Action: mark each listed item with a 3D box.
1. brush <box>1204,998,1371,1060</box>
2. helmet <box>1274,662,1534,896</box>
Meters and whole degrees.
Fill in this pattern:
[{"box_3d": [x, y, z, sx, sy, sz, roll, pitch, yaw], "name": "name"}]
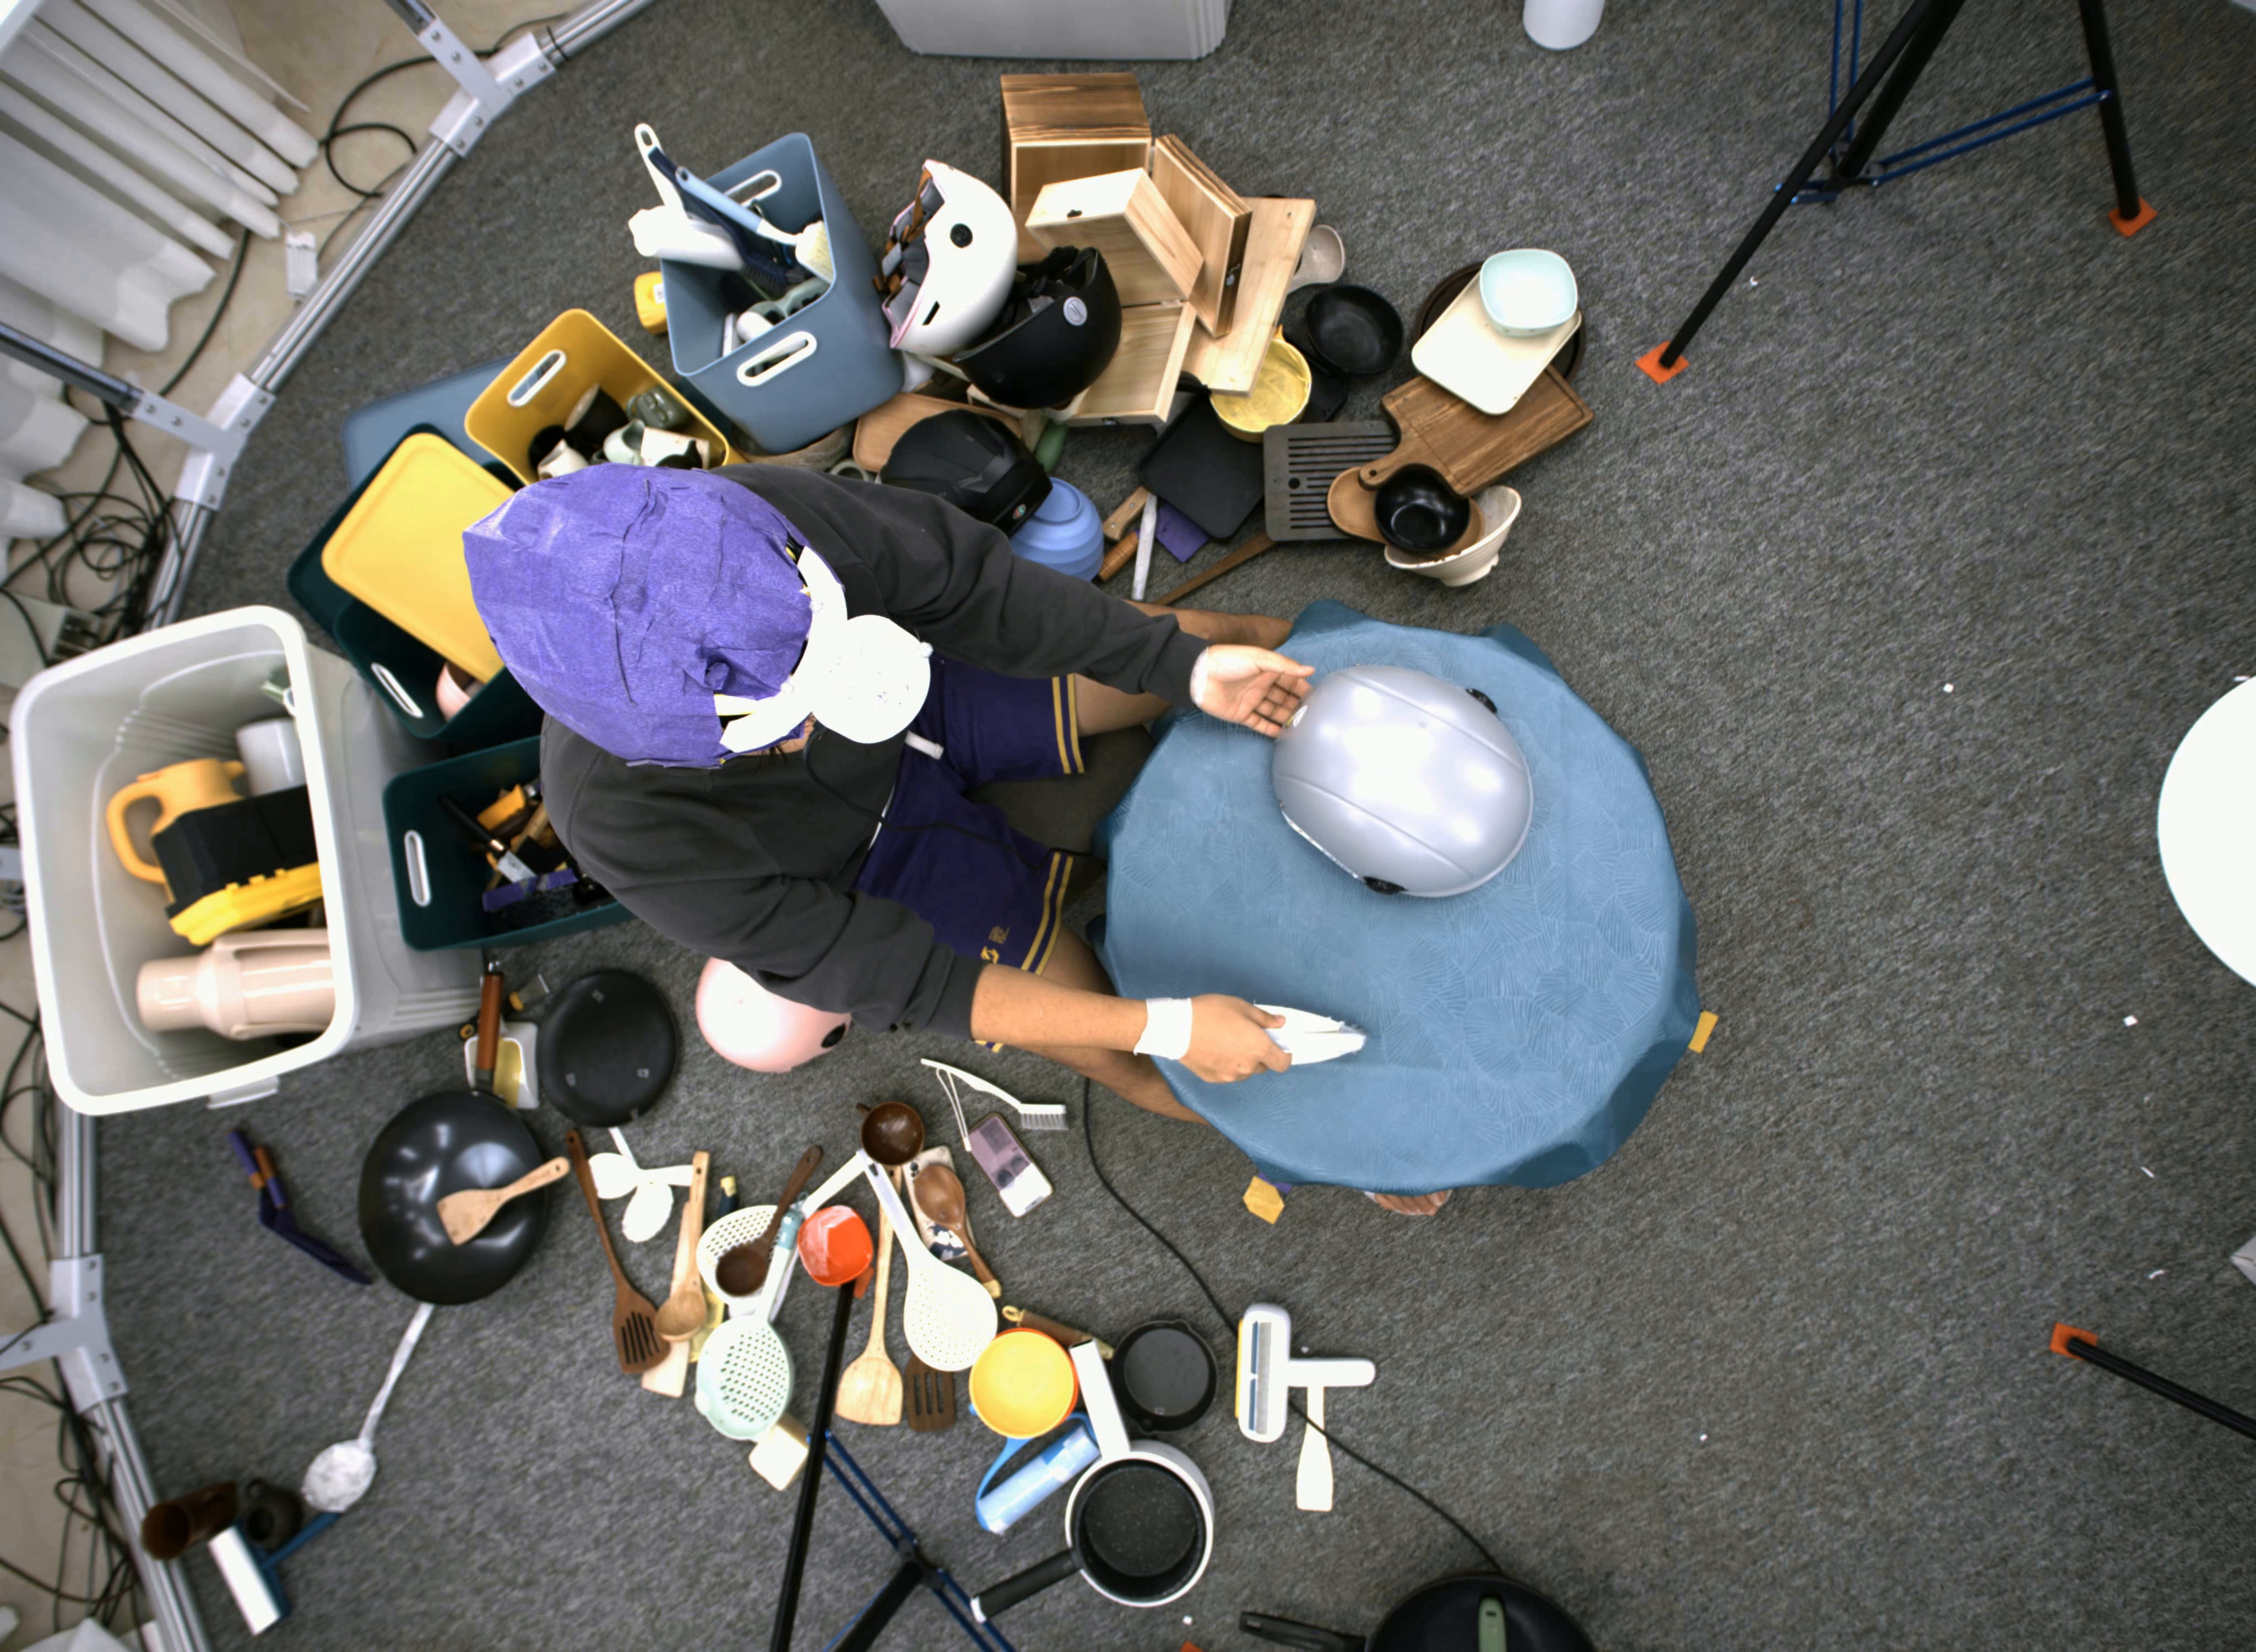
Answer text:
[{"box_3d": [0.164, 0.211, 1.423, 0.176, 0.094, 0.061, 5, 89, 7], "name": "brush"}, {"box_3d": [0.281, -0.052, 1.381, 0.276, 0.168, 0.233, 29, 93, 9], "name": "helmet"}]
